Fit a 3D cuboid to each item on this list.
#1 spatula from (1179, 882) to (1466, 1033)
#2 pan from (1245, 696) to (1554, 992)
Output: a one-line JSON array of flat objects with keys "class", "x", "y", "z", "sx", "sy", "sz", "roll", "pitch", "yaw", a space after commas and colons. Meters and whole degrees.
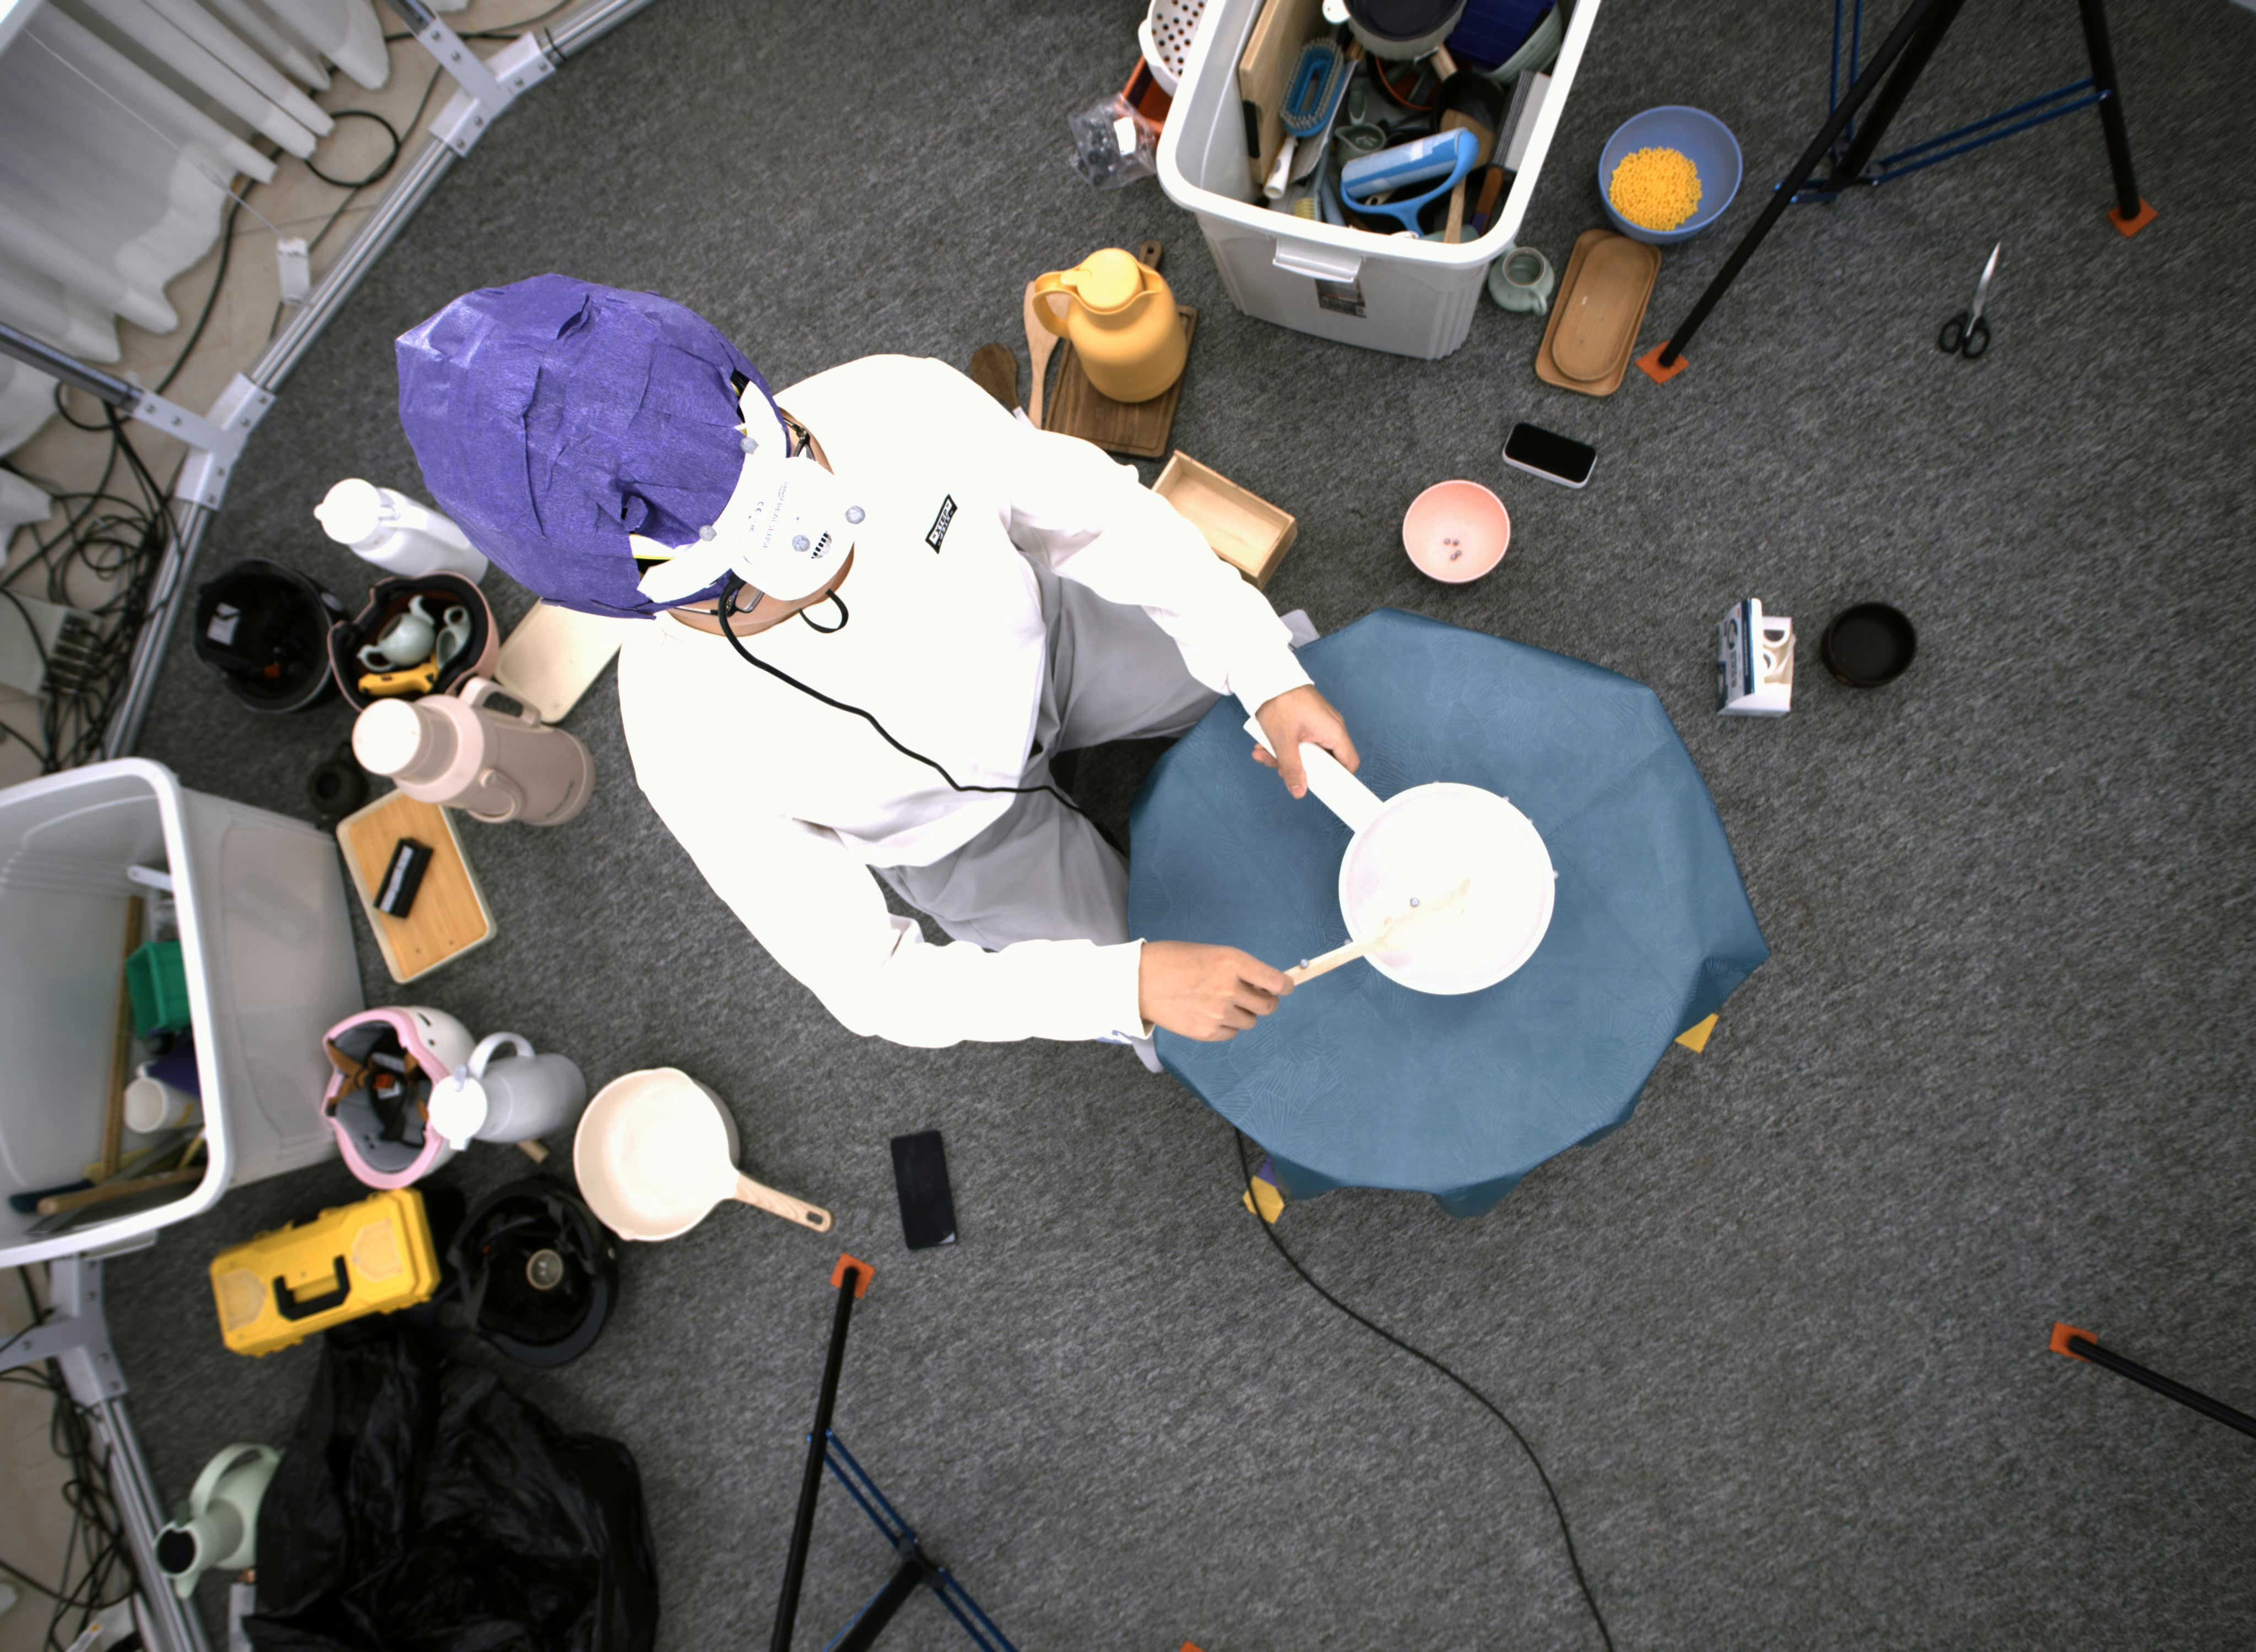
[{"class": "spatula", "x": 0.180, "y": 0.124, "z": 1.266, "sx": 0.292, "sy": 0.074, "sz": 0.010, "roll": -23, "pitch": 59, "yaw": -5}, {"class": "pan", "x": 0.261, "y": 0.006, "z": 1.374, "sx": 0.353, "sy": 0.101, "sz": 0.203, "roll": 44, "pitch": 102, "yaw": 12}]
